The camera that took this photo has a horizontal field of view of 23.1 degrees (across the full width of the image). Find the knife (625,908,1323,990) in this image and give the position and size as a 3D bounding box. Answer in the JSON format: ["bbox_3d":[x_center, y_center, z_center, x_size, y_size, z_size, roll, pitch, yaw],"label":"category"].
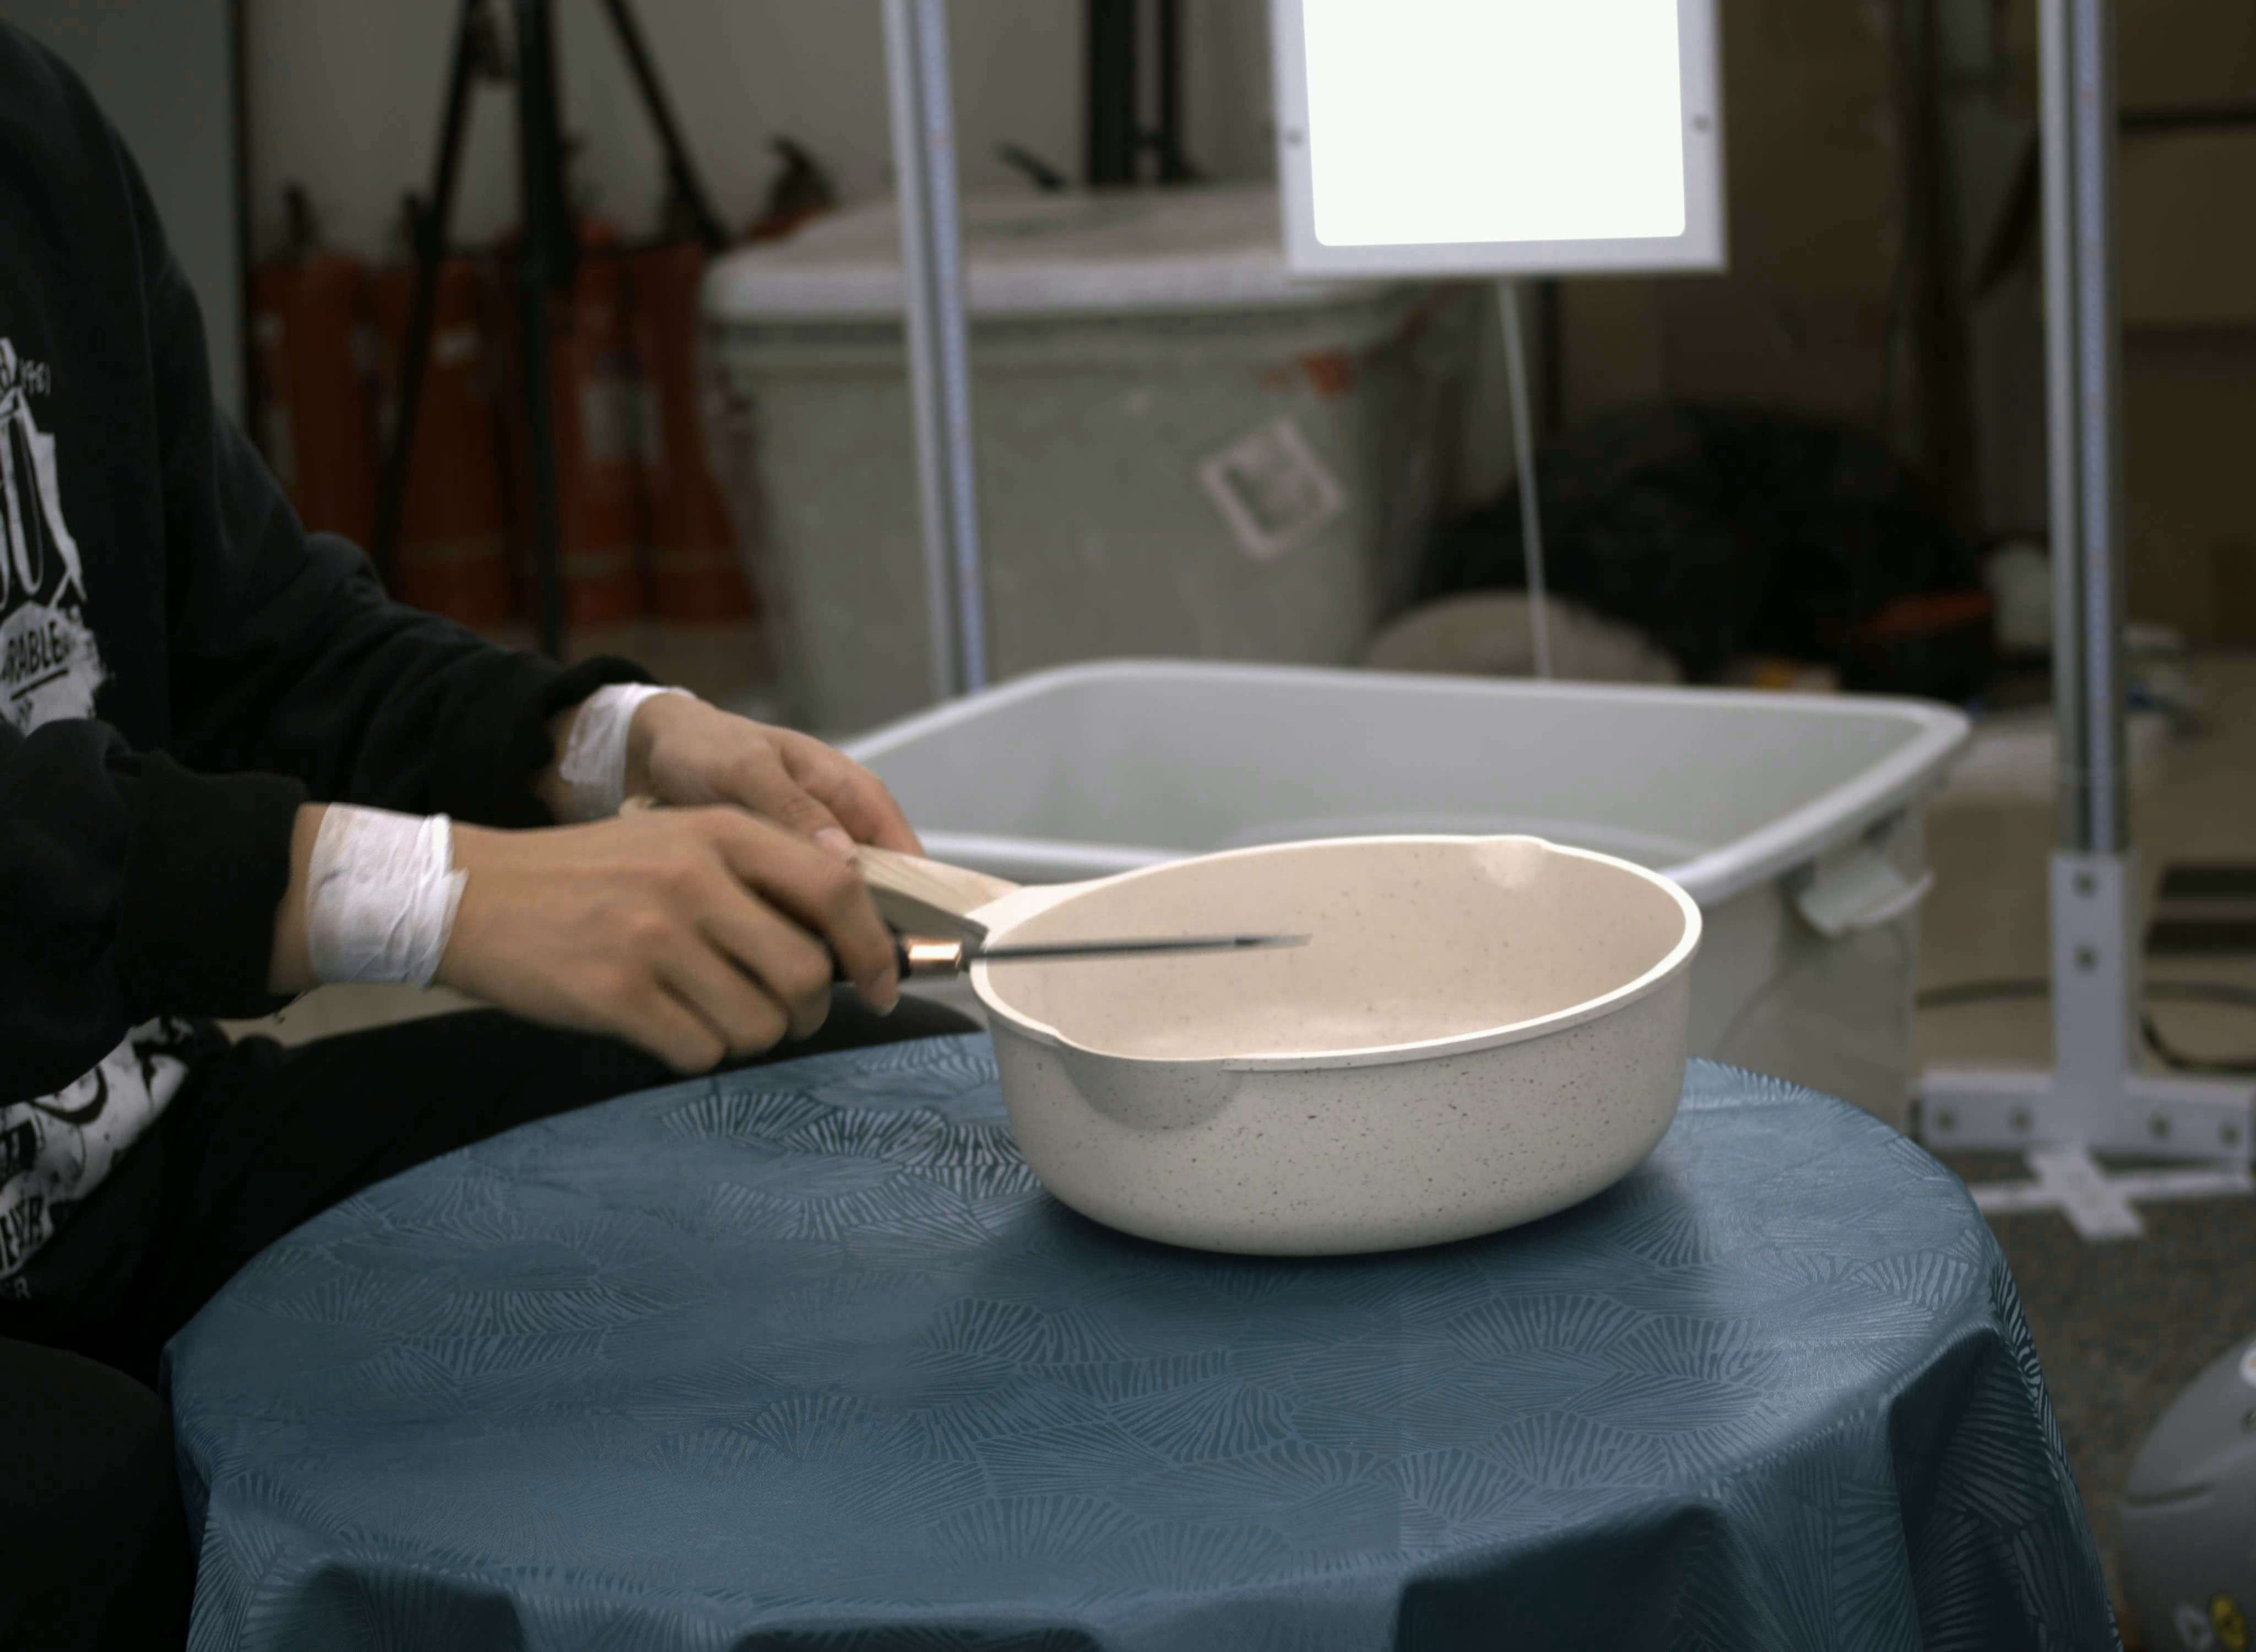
[{"bbox_3d":[-0.049,0.037,1.766,0.225,0.017,0.026,-5,-1,1],"label":"knife"}]

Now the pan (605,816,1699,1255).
[{"bbox_3d":[-0.003,0.061,1.944,0.444,0.102,0.257,5,21,35],"label":"pan"}]
